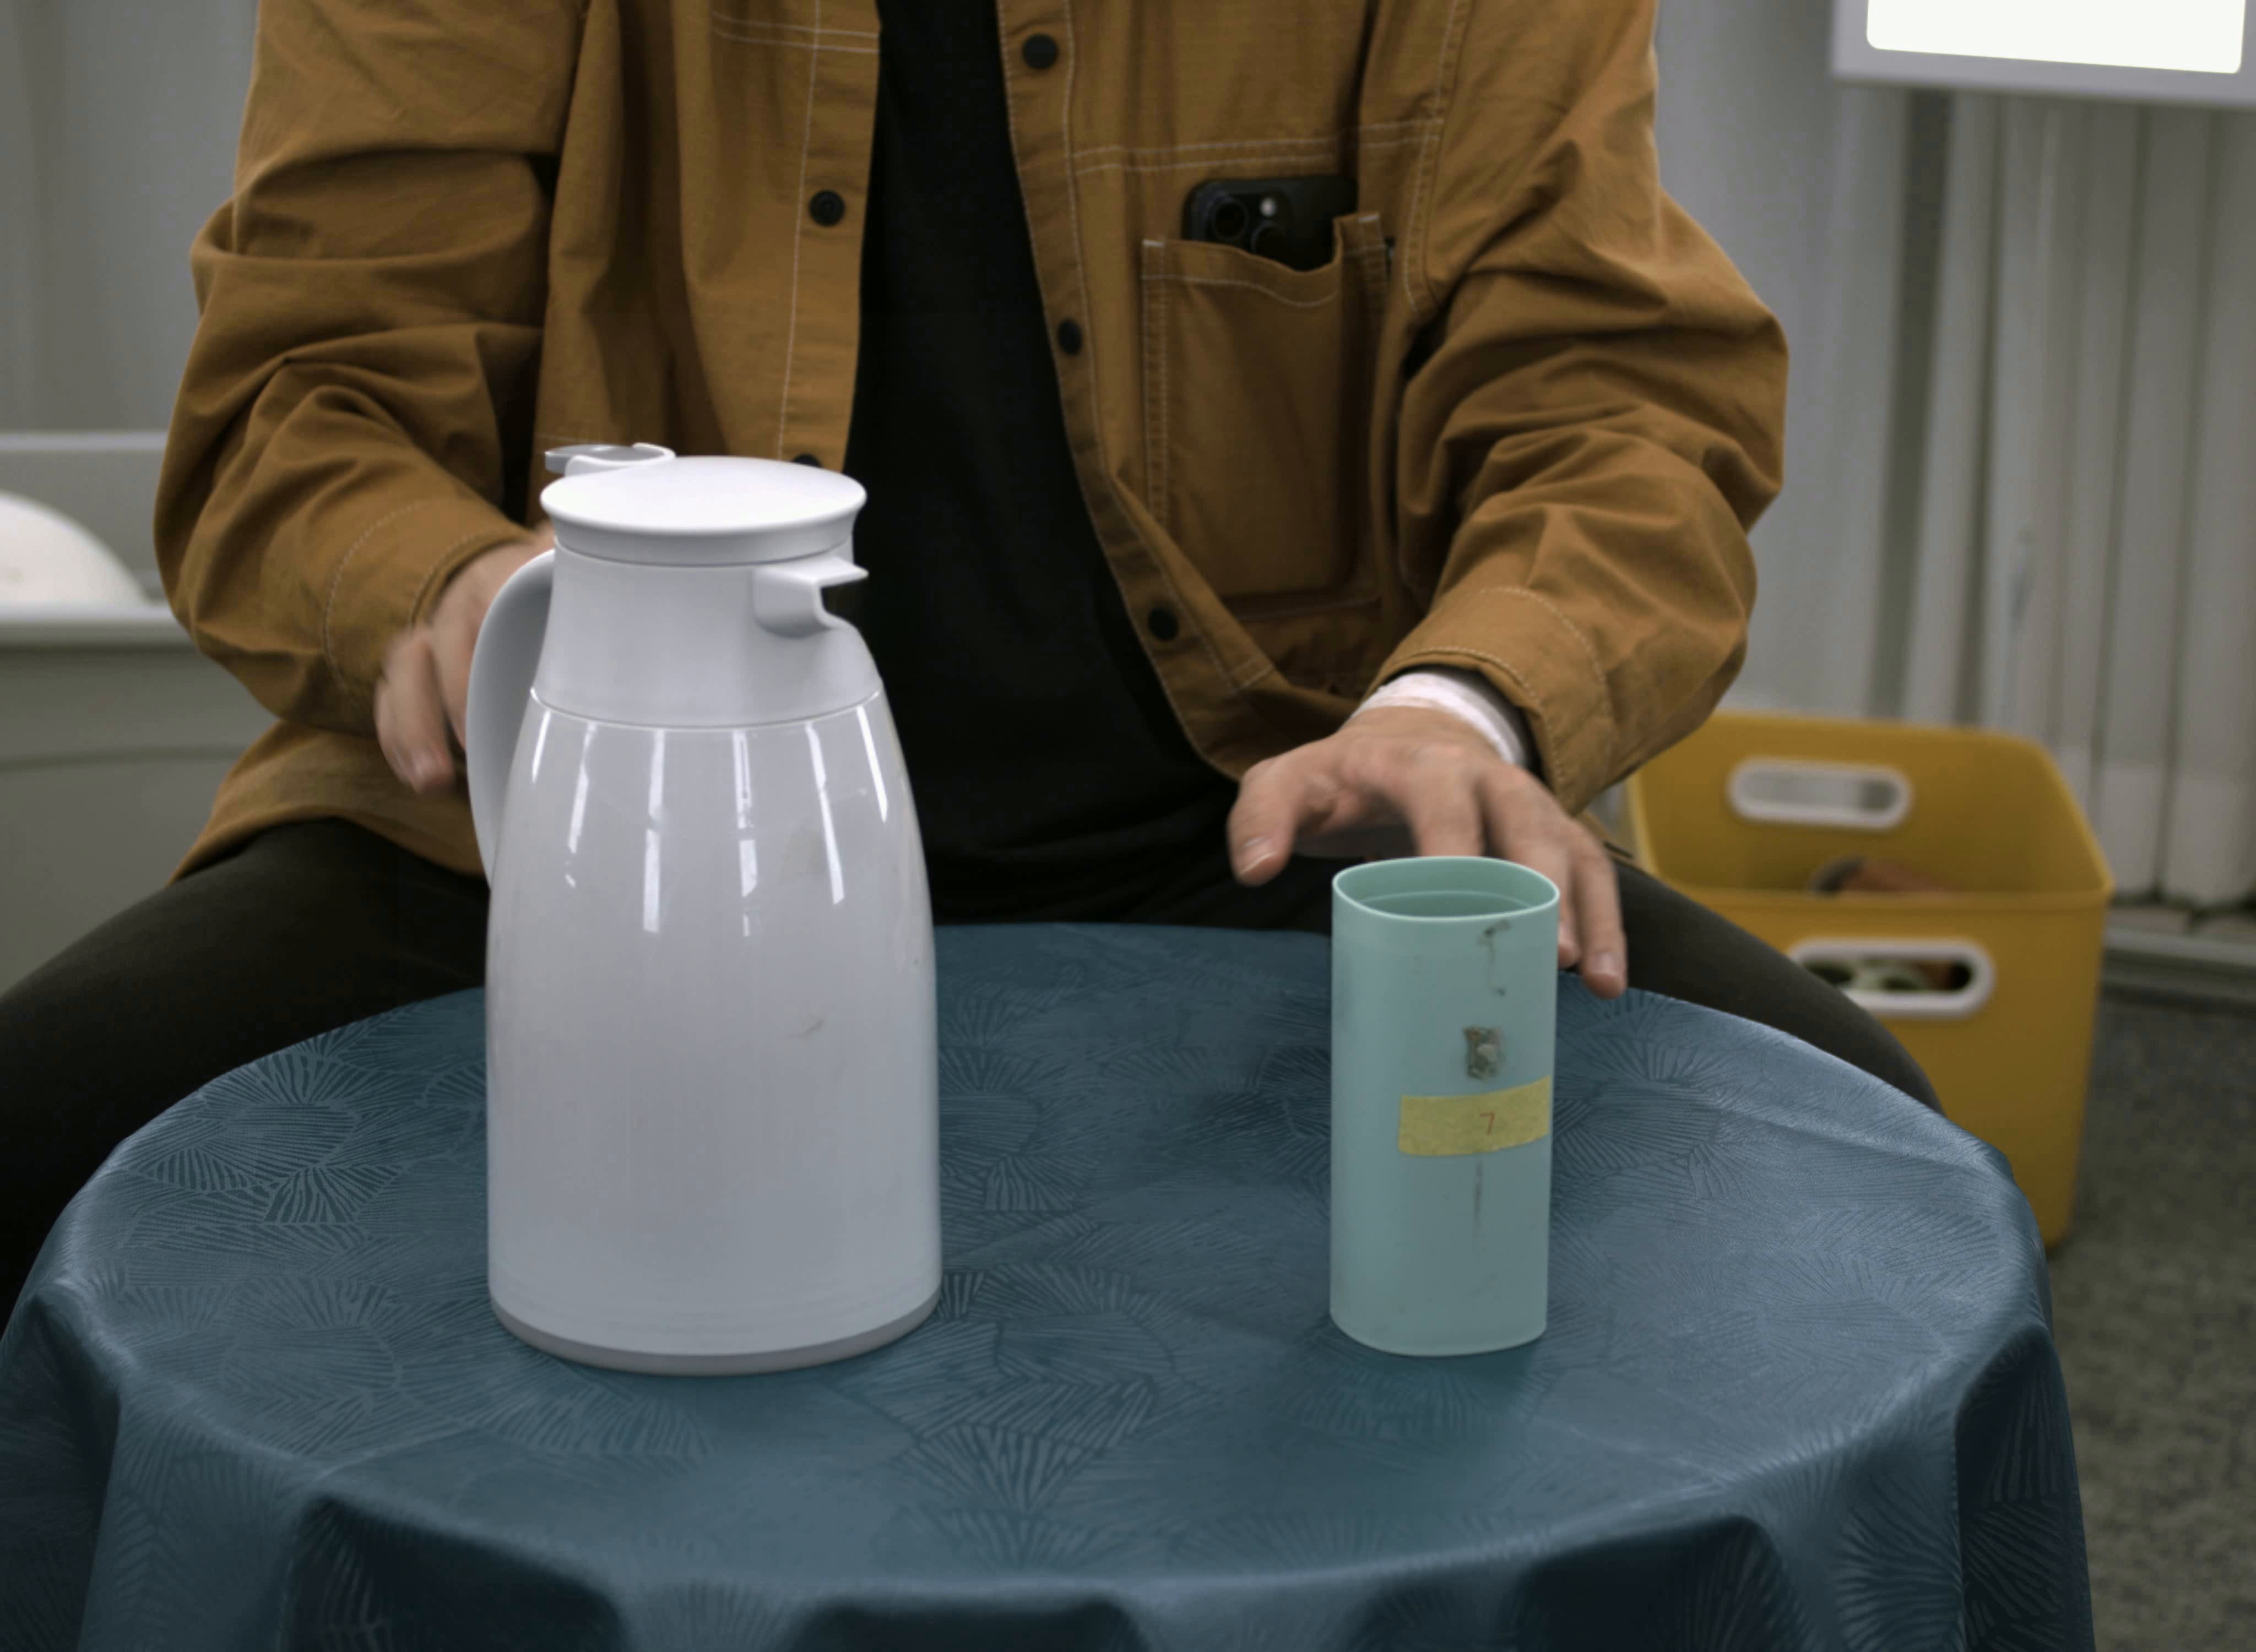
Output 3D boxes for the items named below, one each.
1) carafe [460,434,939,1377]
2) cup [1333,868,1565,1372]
[{"bbox_3d":[-0.134,0.014,1.507,0.133,0.250,0.165,-15,22,-42],"label":"carafe"},{"bbox_3d":[0.090,0.082,1.500,0.066,0.133,0.066,1,16,0],"label":"cup"}]
